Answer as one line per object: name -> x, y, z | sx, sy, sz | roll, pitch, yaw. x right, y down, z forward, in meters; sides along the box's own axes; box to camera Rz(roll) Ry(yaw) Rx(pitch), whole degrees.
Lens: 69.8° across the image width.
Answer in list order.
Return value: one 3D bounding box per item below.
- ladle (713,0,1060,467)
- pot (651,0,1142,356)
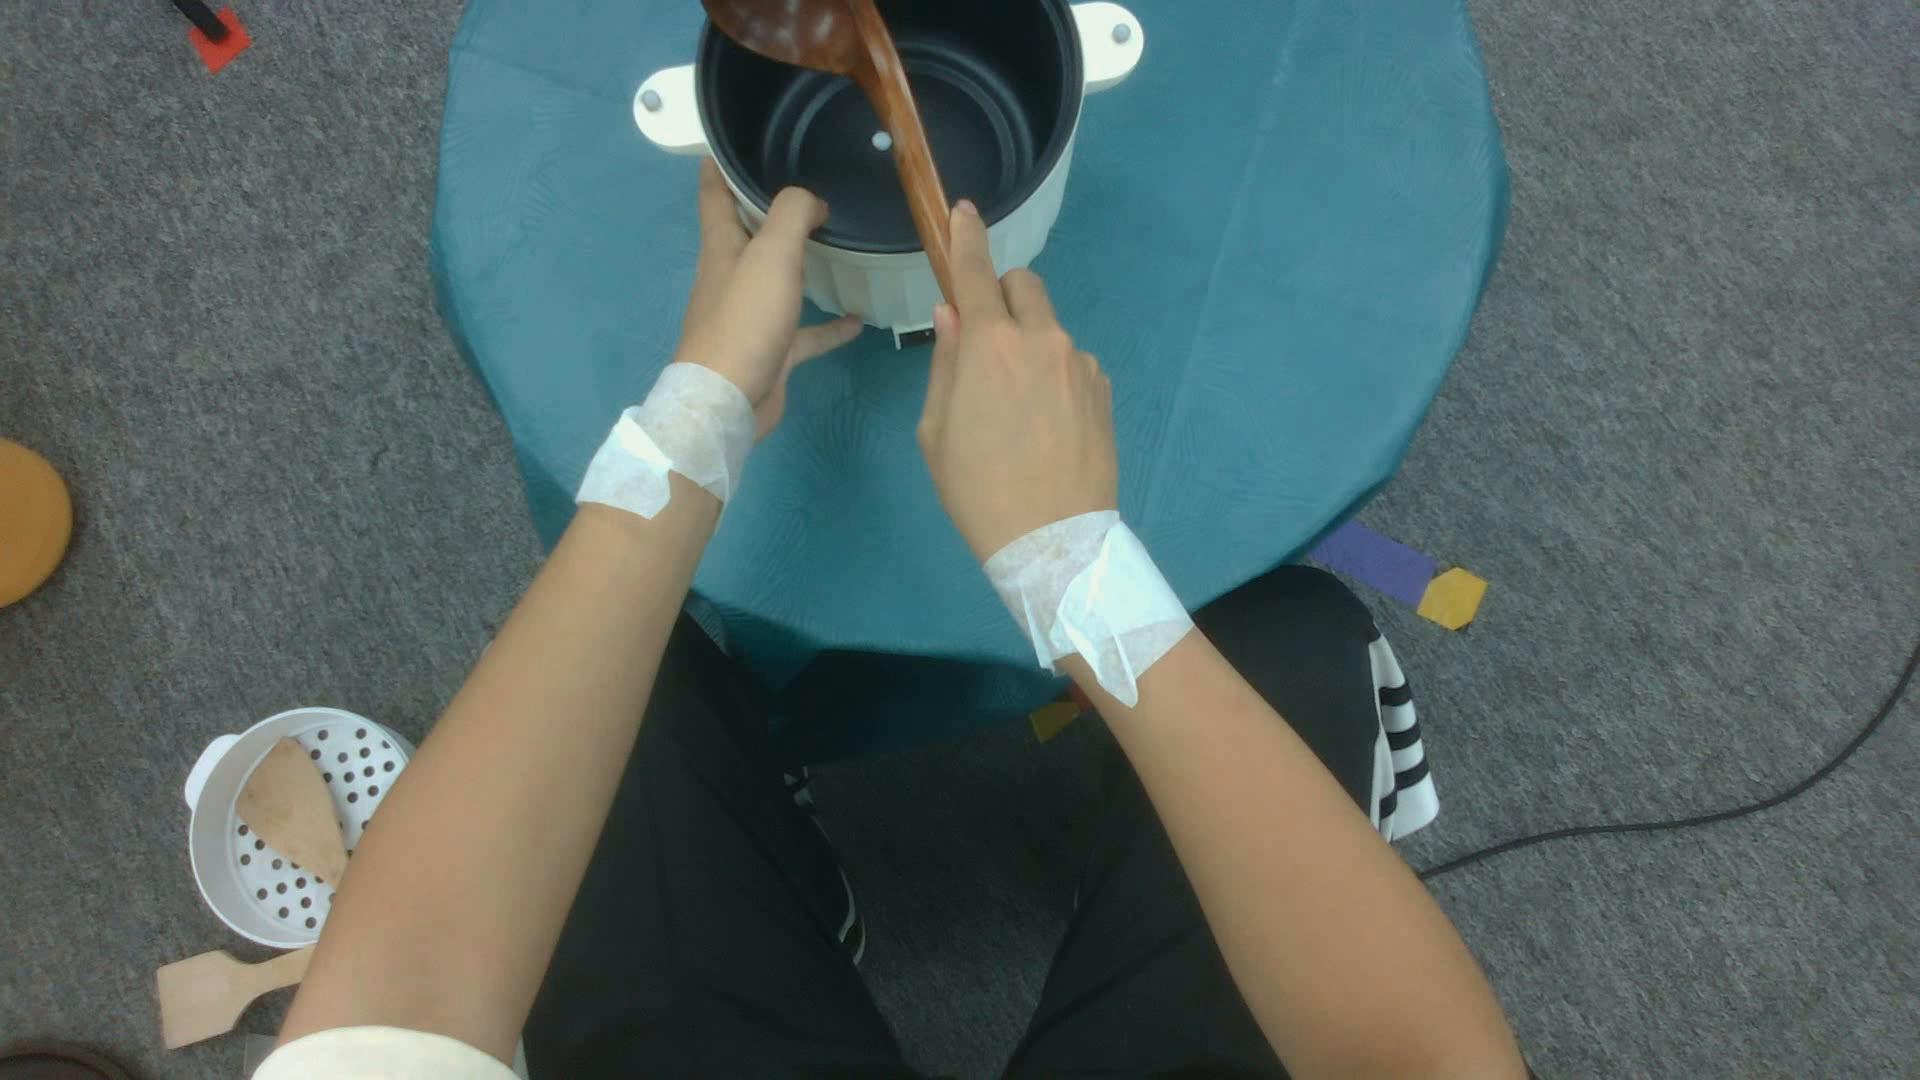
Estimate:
ladle -> -0.038, -0.151, 0.616 | 0.077, 0.081, 0.274 | -18, 78, -11
pot -> -0.031, -0.207, 0.723 | 0.240, 0.142, 0.191 | -10, 80, -2
